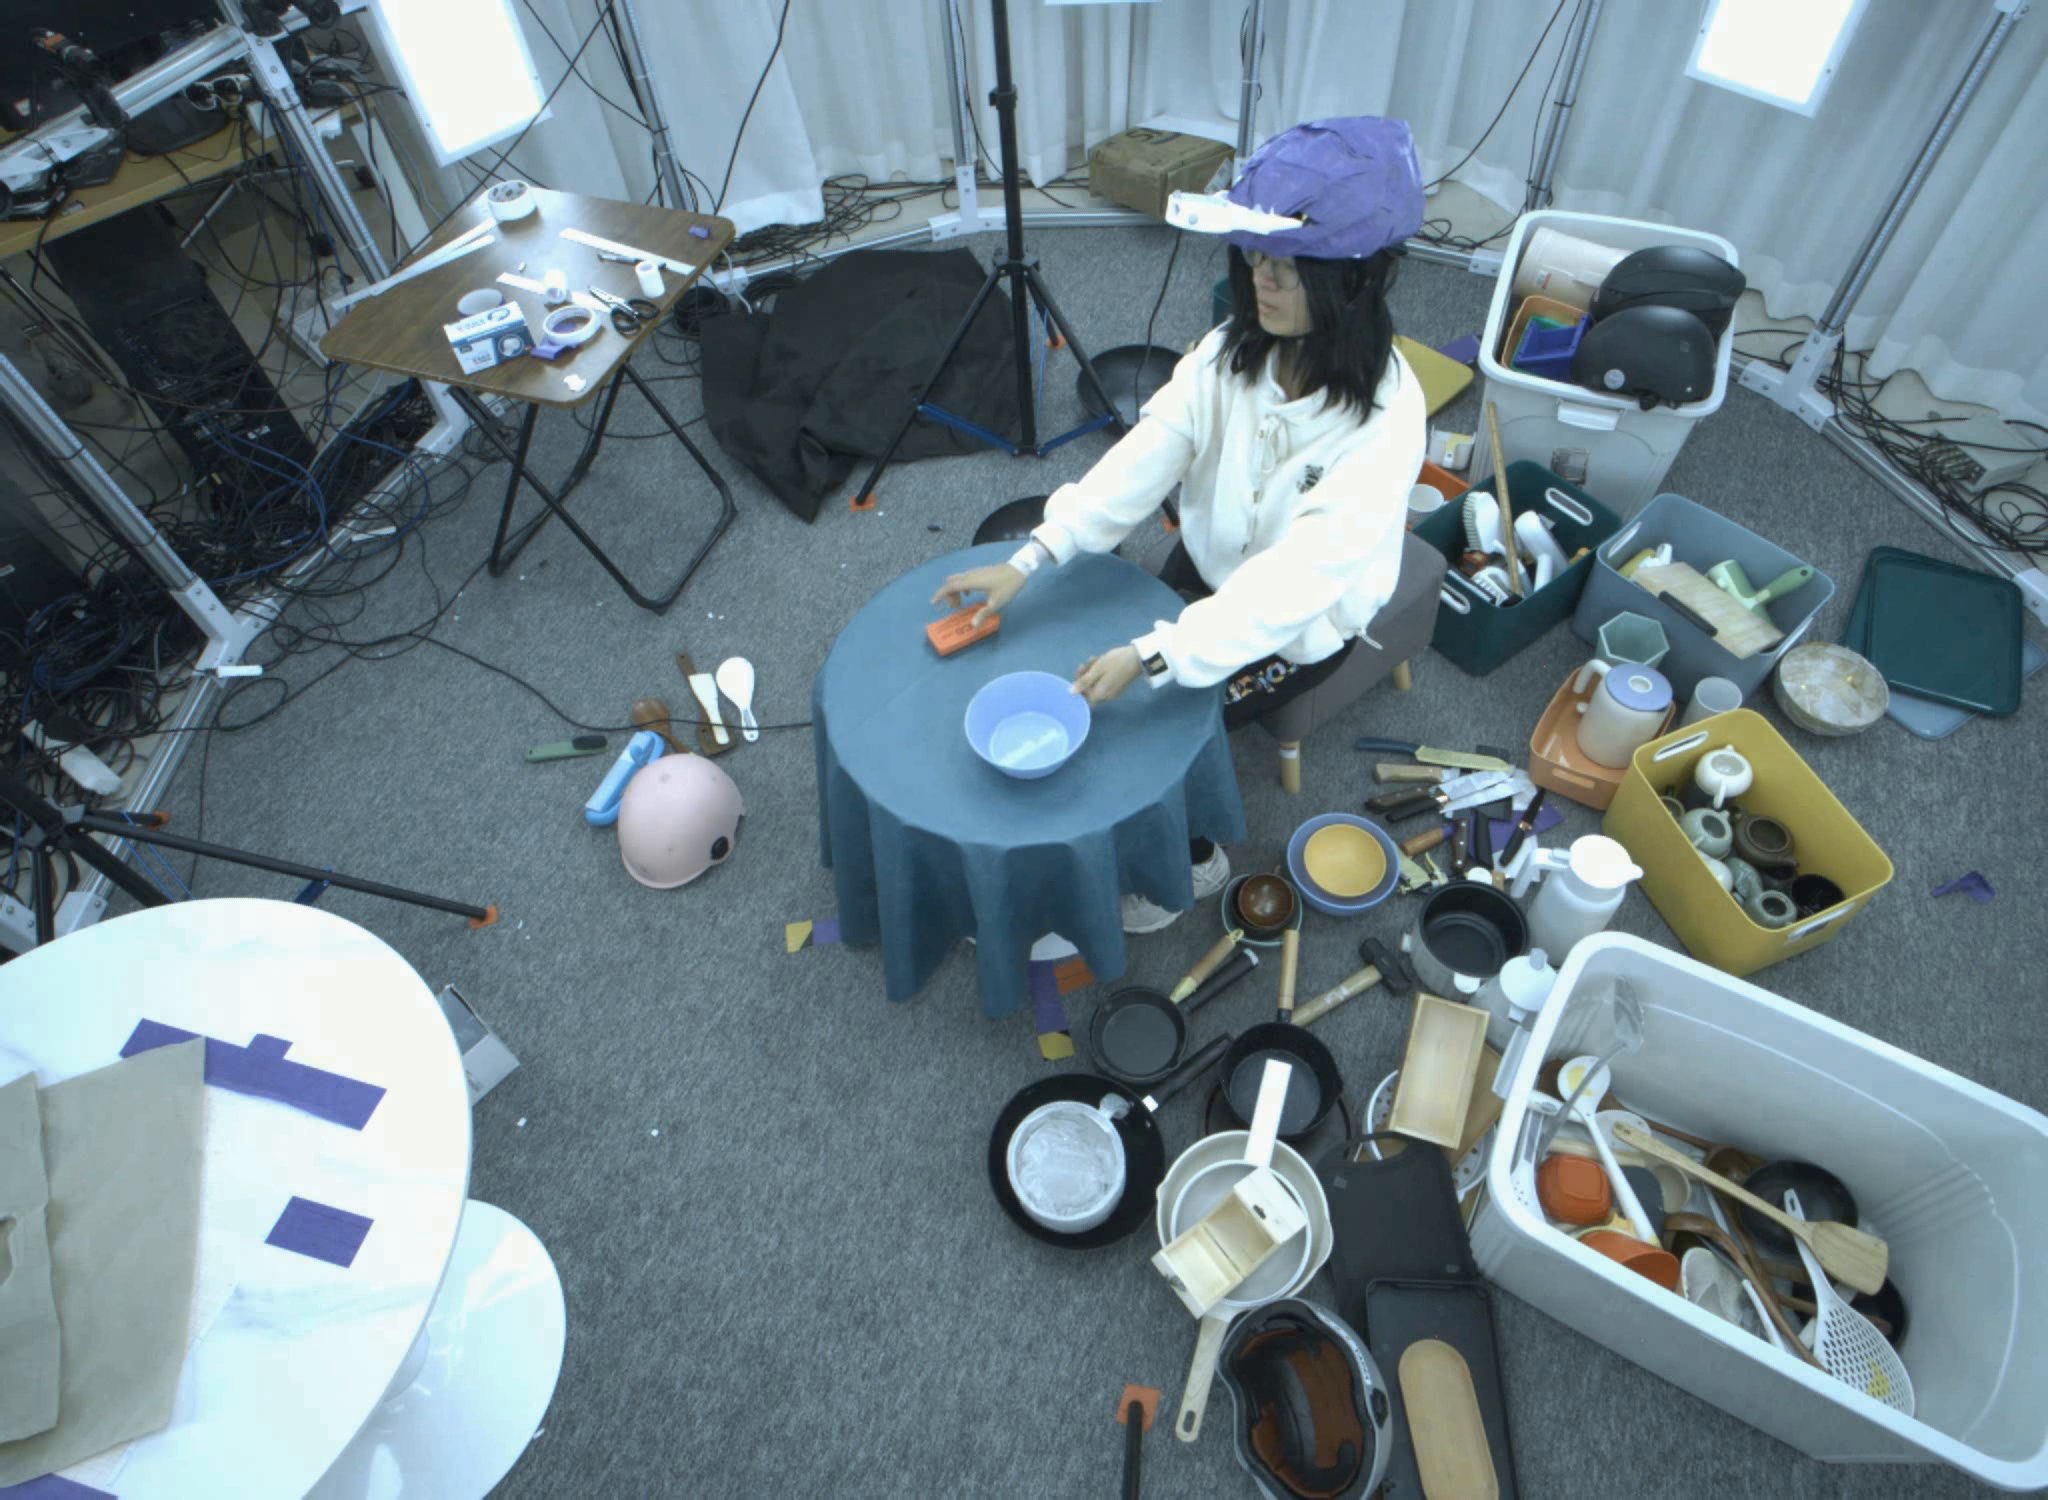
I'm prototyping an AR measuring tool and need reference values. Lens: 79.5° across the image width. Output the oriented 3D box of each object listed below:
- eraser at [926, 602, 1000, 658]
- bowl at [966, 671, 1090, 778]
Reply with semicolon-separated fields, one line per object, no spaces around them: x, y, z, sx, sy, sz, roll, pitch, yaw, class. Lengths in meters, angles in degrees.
-0.096;-0.188;1.910;0.109;0.023;0.058;-26;56;-16;eraser
0.007;-0.026;1.762;0.176;0.071;0.174;-1;55;2;bowl
